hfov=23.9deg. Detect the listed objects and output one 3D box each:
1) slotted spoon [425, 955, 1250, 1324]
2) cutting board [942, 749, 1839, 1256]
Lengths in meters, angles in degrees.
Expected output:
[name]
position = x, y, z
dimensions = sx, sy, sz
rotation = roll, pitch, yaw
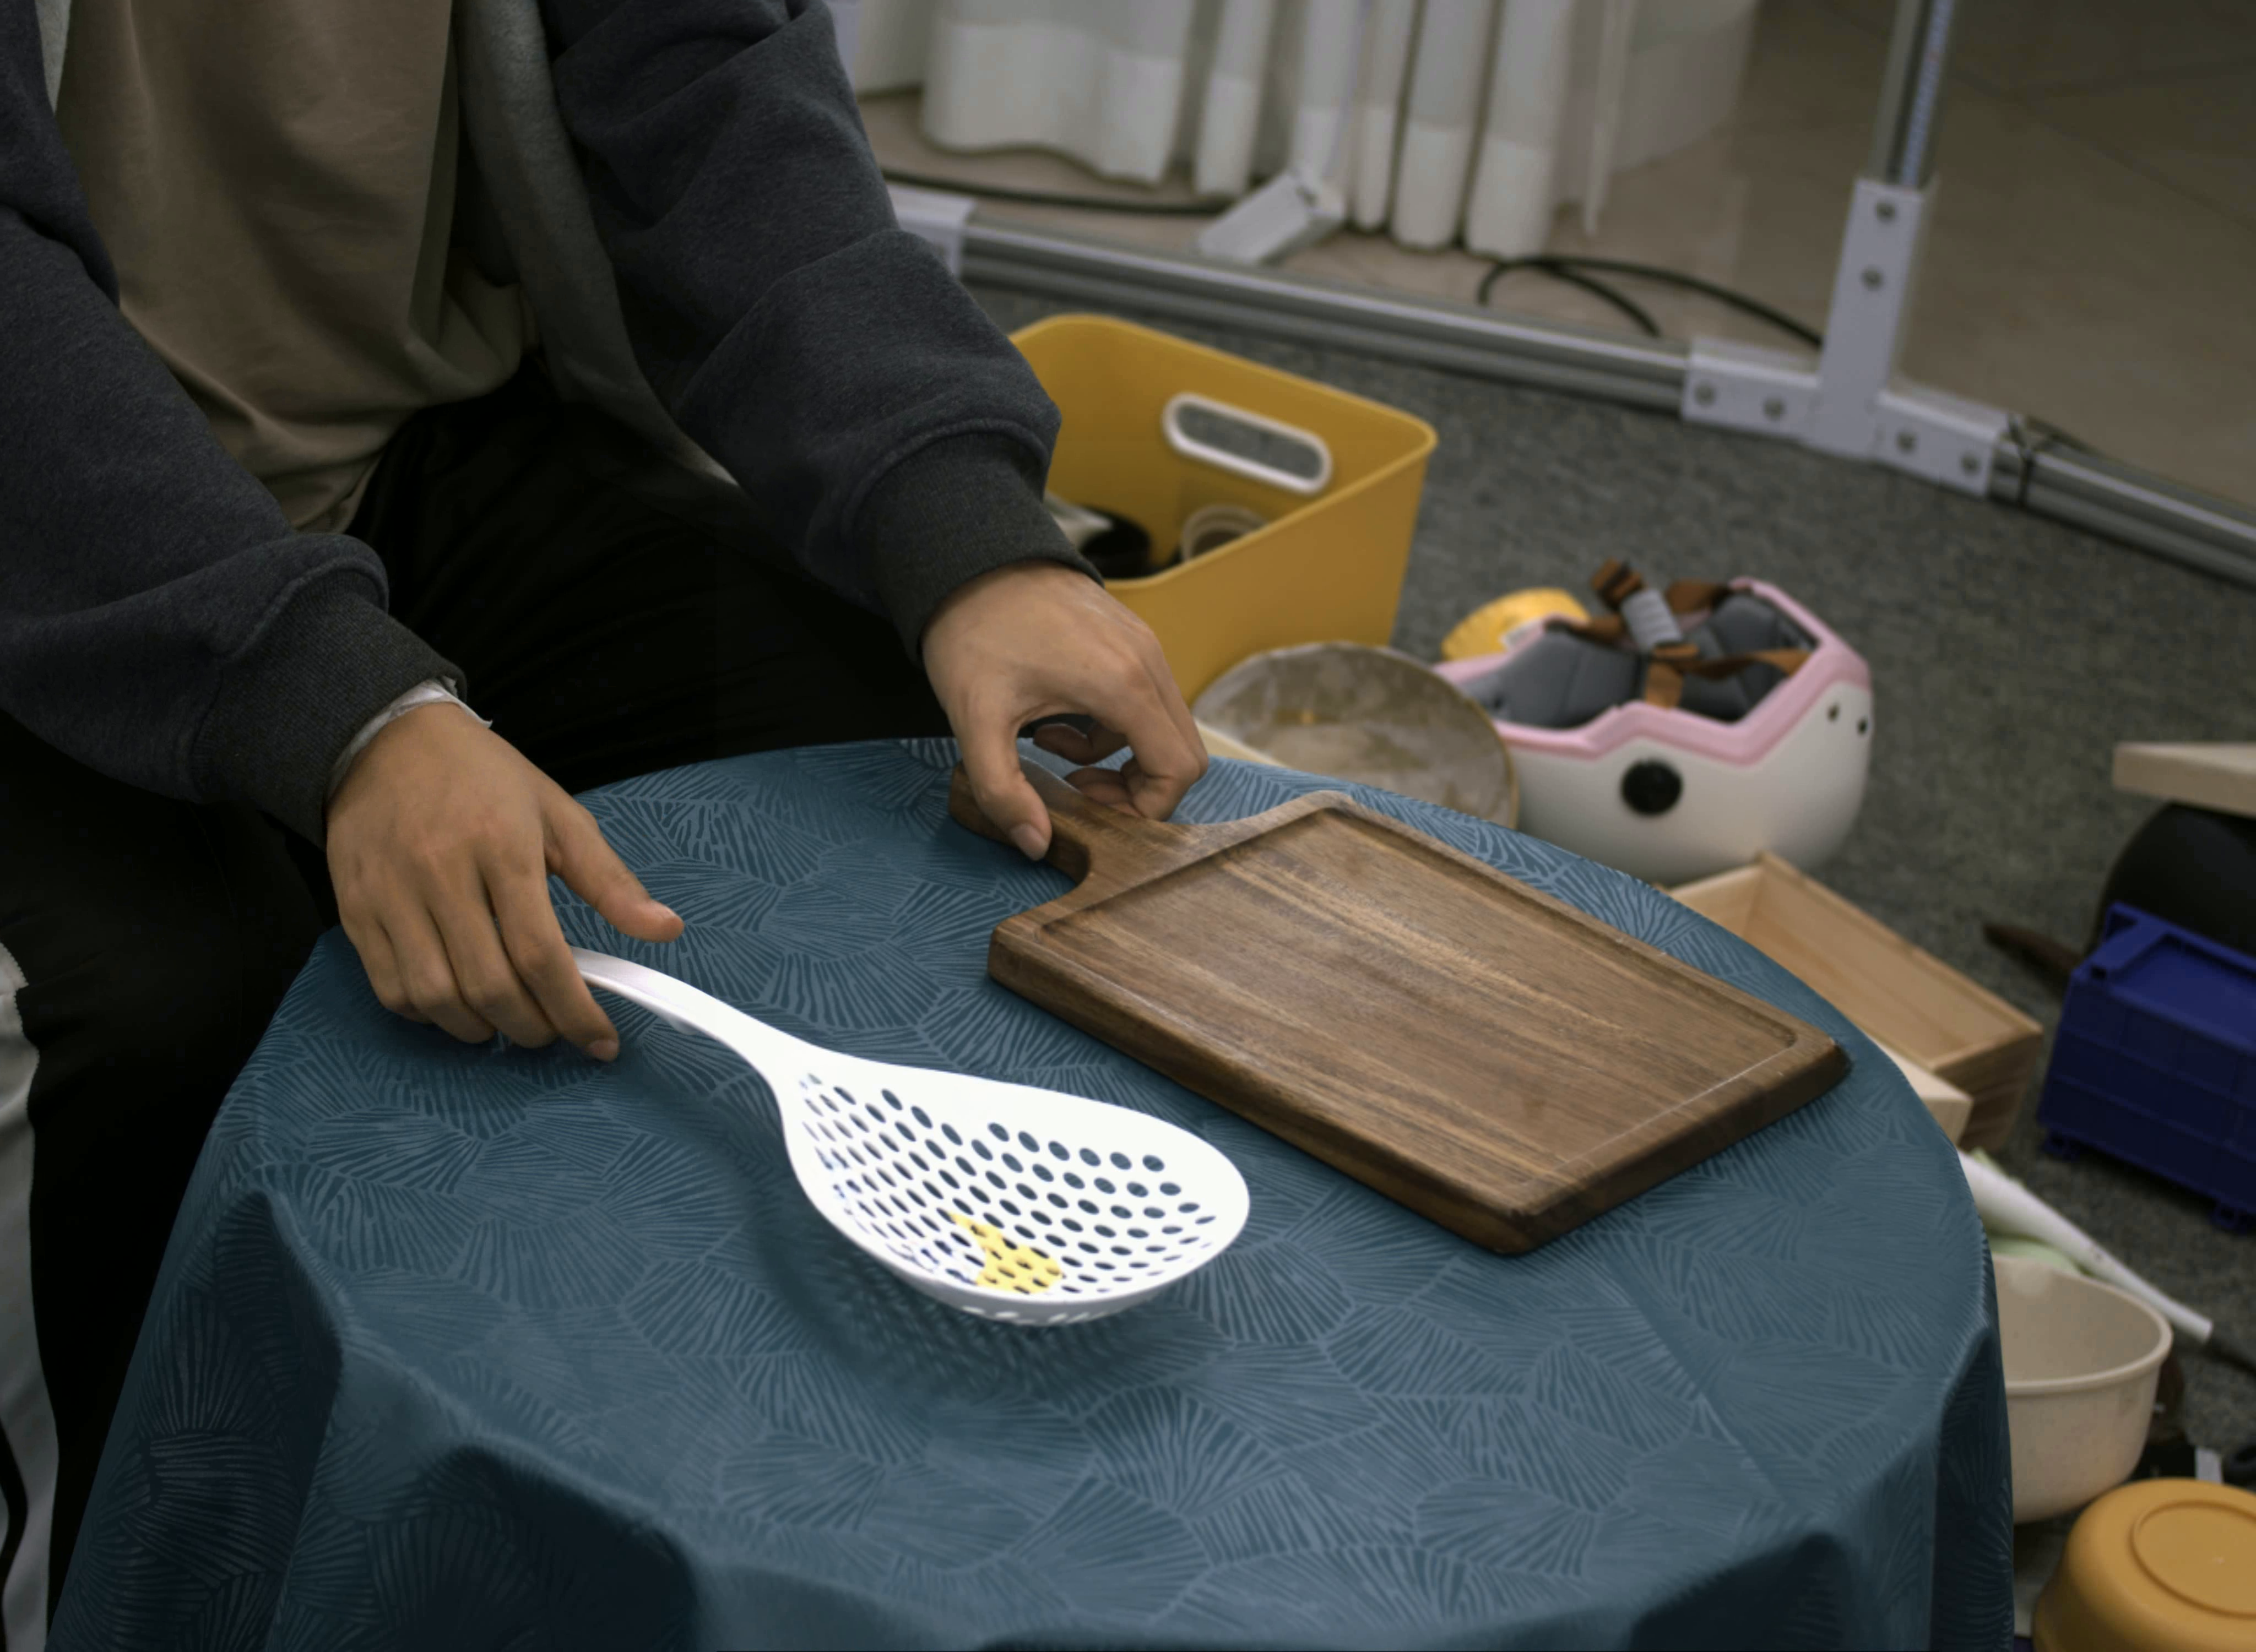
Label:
[slotted spoon]
position = -0.112, 0.092, 1.793
dimensions = 0.350, 0.050, 0.136
rotation = 27, 36, 35
[cutting board]
position = 0.066, 0.046, 1.945
dimensions = 0.355, 0.023, 0.200
rotation = 27, 33, 34
